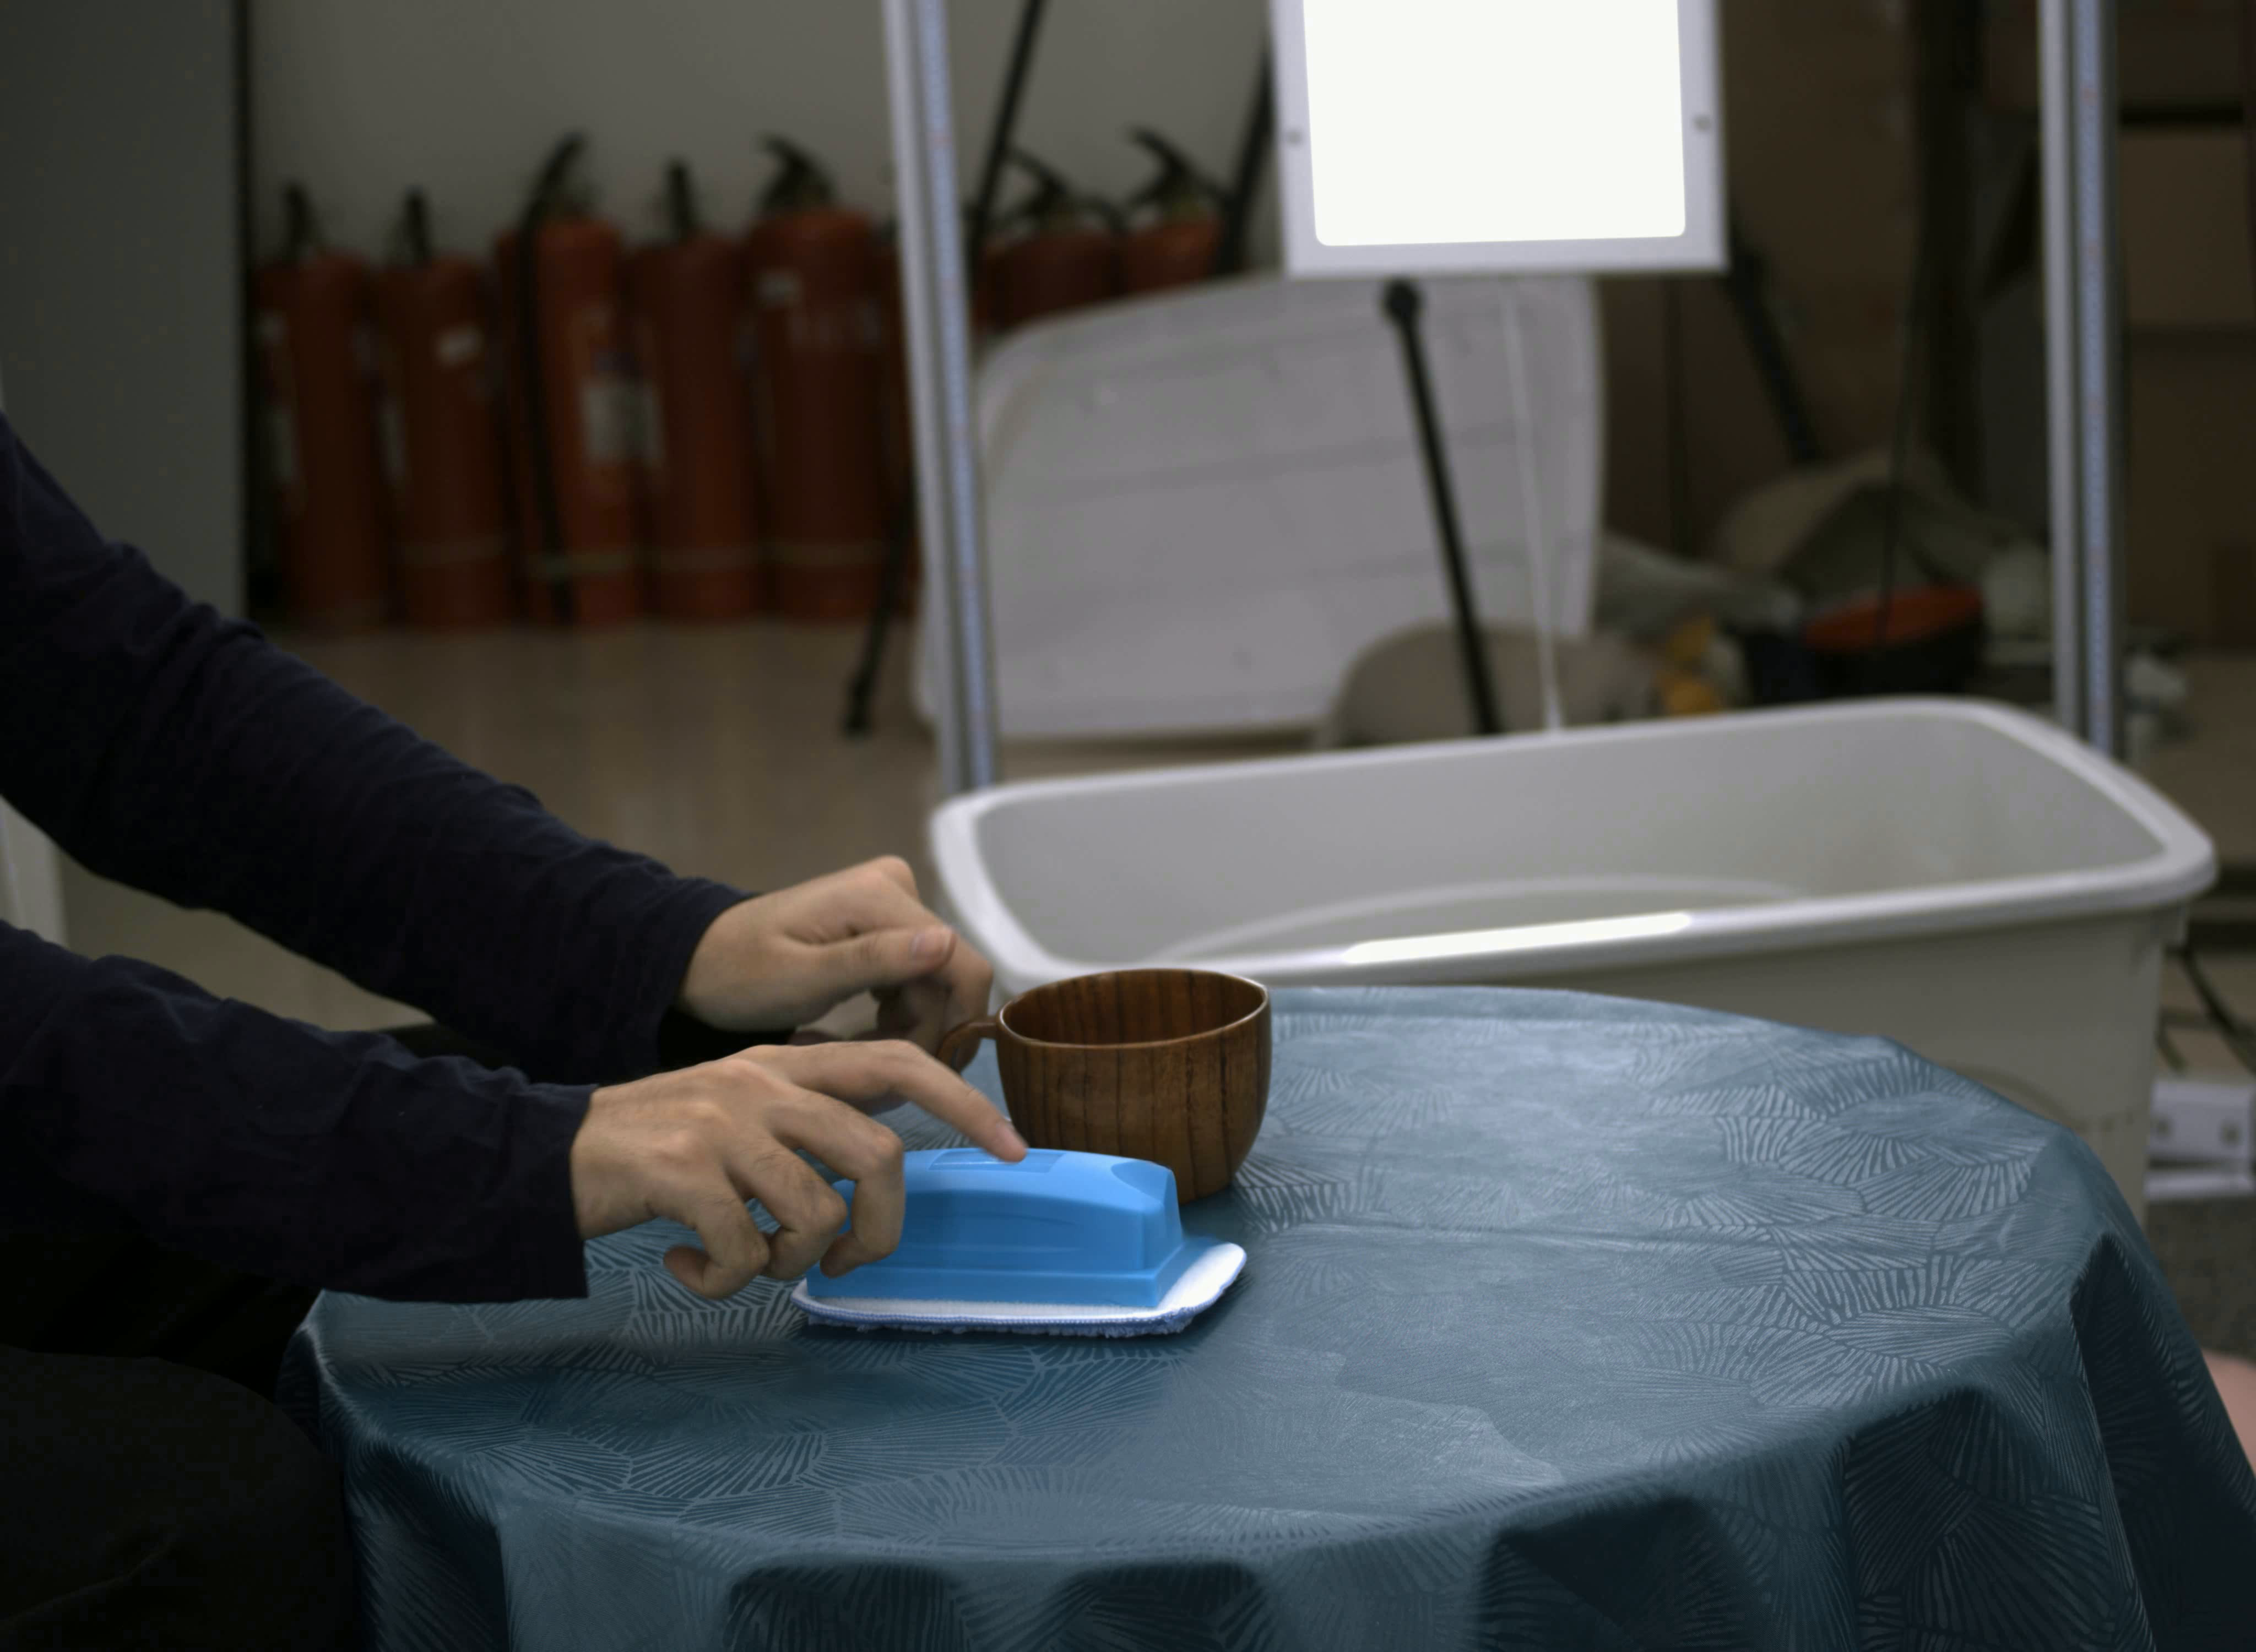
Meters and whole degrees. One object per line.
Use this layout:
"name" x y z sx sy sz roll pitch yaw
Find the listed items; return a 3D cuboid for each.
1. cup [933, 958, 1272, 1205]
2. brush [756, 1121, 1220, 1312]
"cup" -0.007 0.092 1.905 0.120 0.068 0.095 -4 17 12
"brush" -0.045 0.126 1.788 0.146 0.056 0.082 3 12 21
